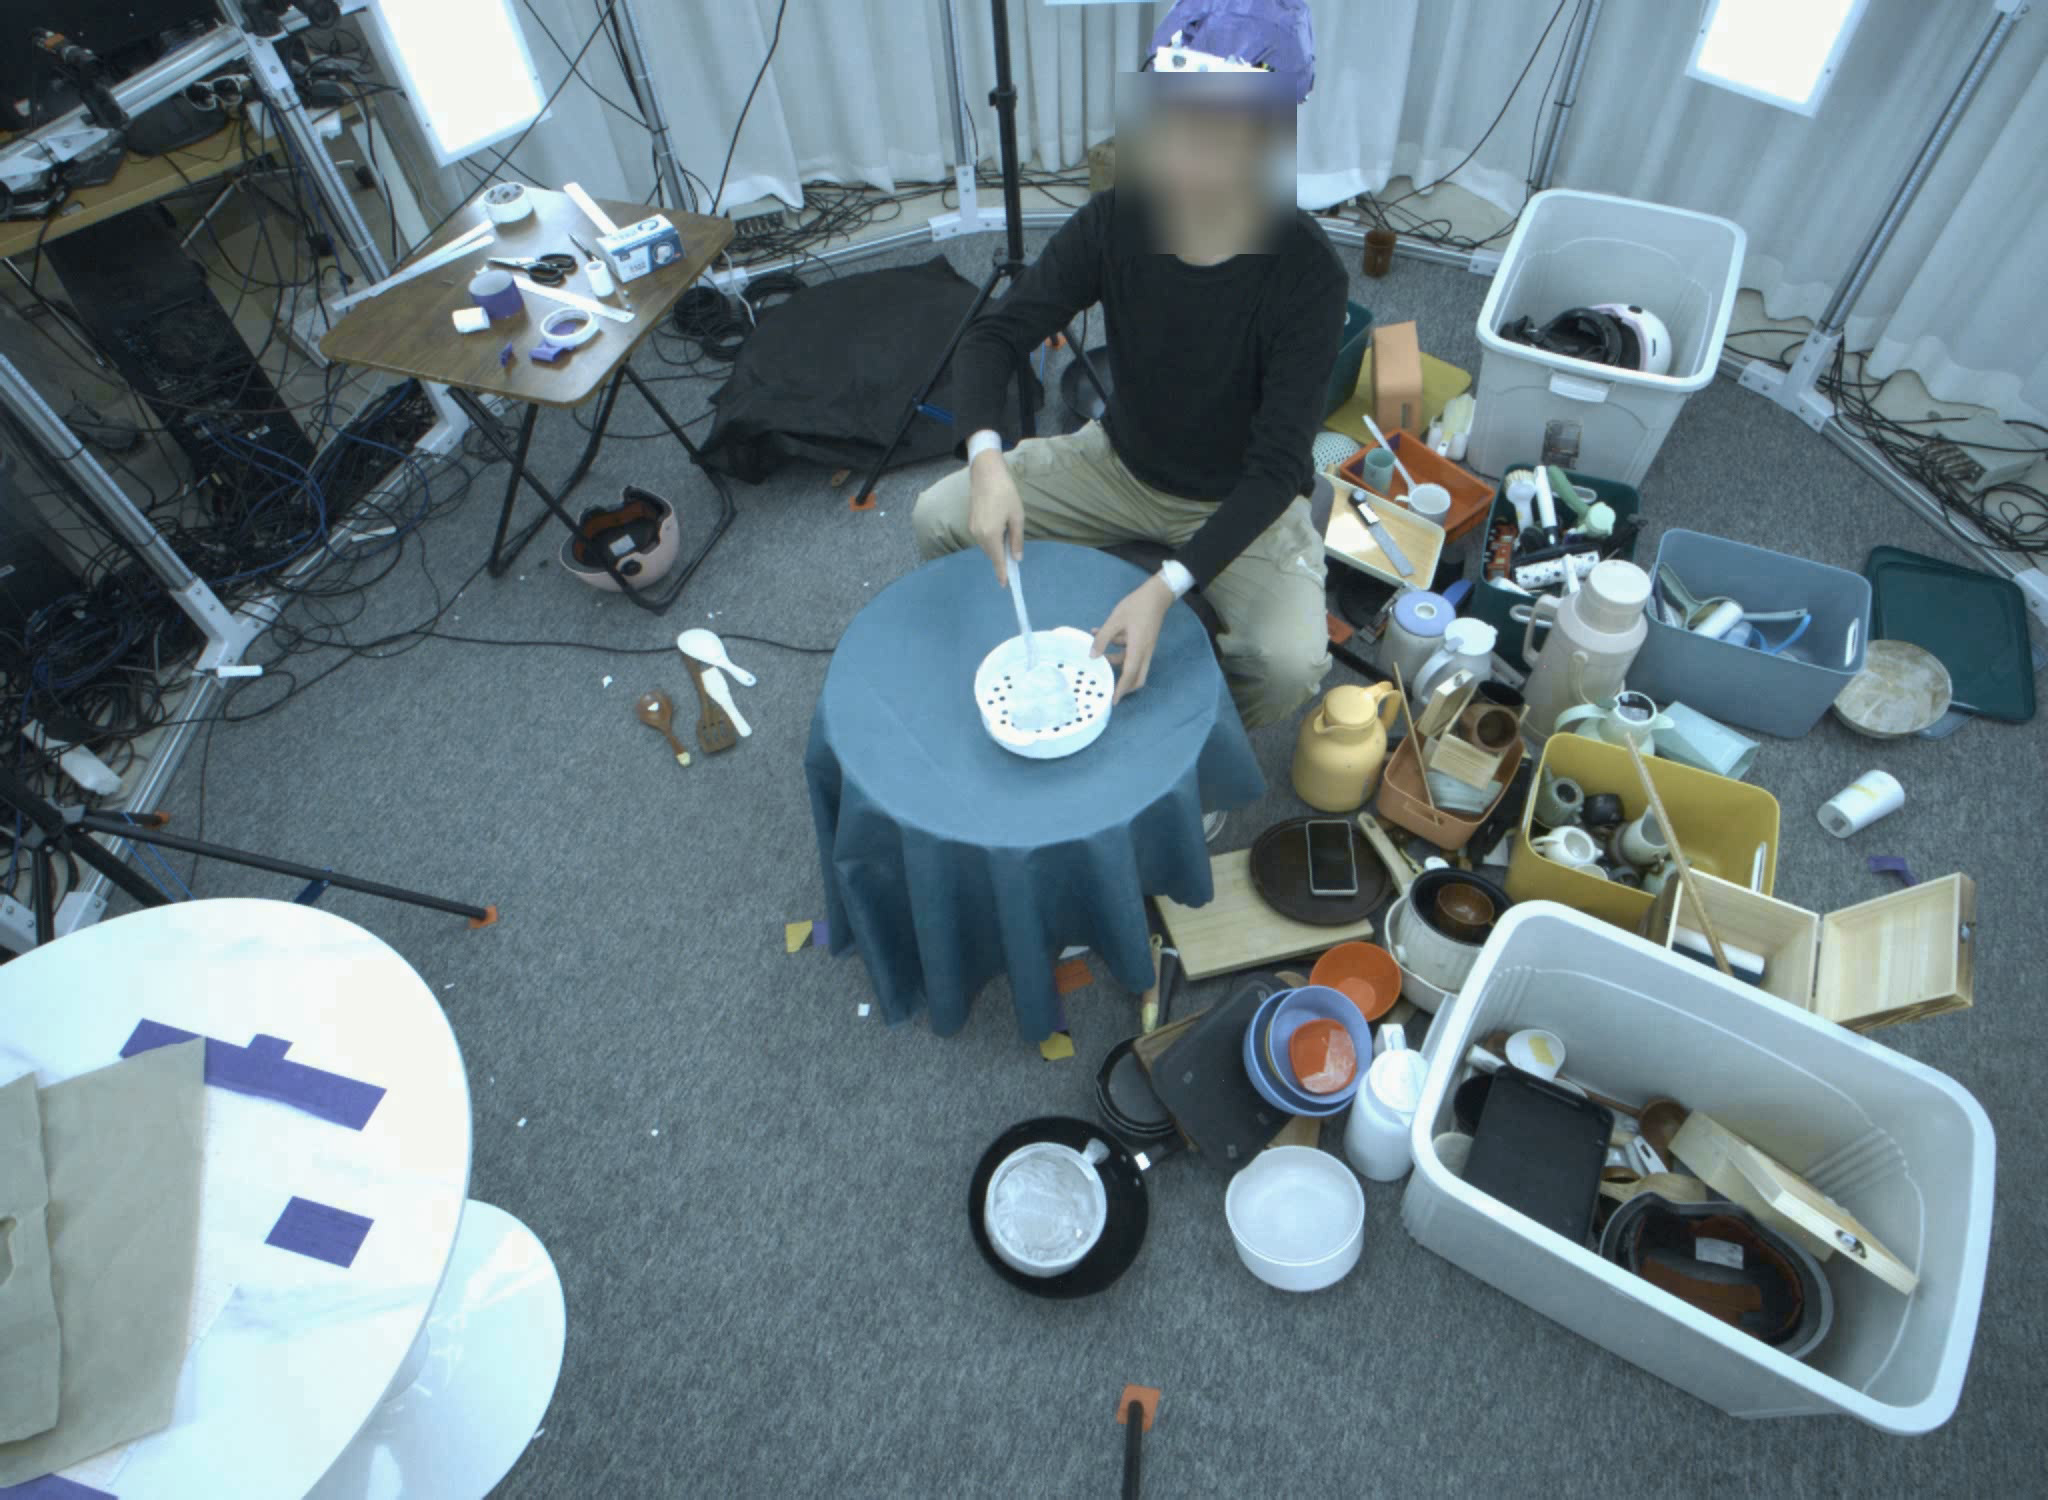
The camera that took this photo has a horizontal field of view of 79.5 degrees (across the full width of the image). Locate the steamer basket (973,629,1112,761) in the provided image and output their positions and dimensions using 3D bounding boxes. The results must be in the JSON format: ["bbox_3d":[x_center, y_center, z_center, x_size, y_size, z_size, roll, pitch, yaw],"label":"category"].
[{"bbox_3d":[0.028,-0.077,1.798,0.199,0.070,0.231,23,58,16],"label":"steamer basket"}]

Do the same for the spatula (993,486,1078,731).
[{"bbox_3d":[-0.003,-0.209,1.796,0.098,0.044,0.366,-13,96,1],"label":"spatula"}]
